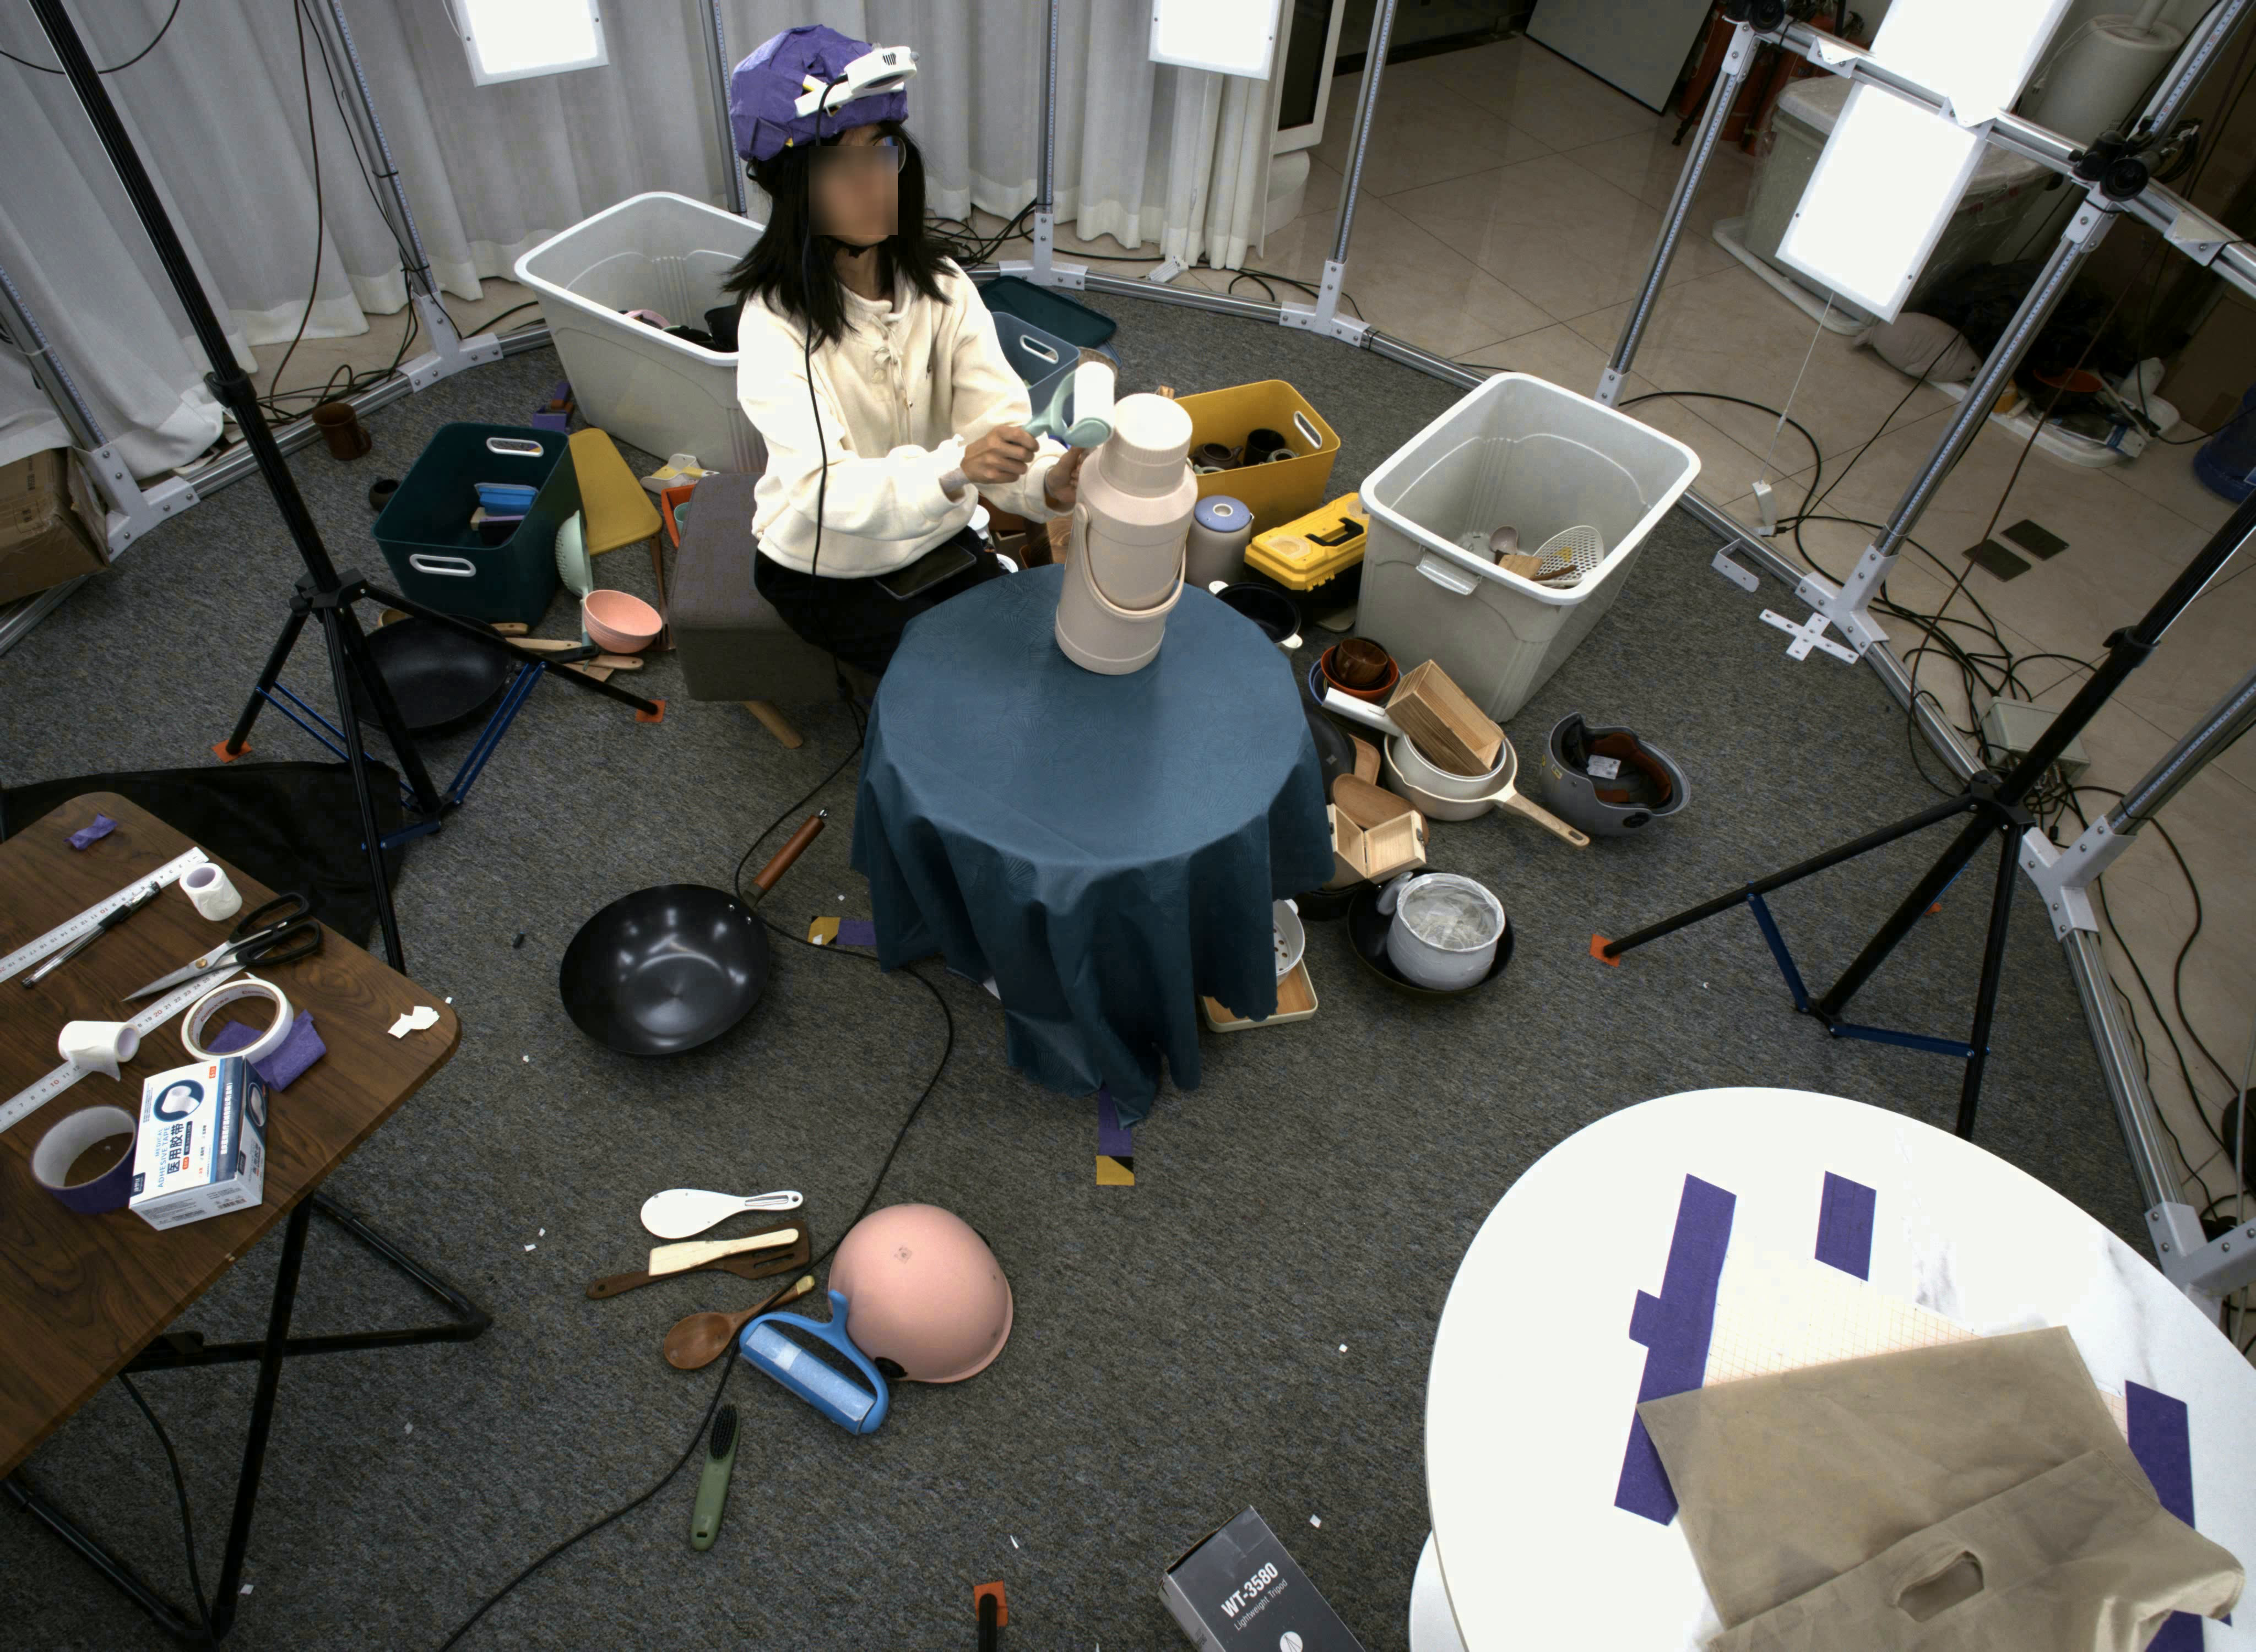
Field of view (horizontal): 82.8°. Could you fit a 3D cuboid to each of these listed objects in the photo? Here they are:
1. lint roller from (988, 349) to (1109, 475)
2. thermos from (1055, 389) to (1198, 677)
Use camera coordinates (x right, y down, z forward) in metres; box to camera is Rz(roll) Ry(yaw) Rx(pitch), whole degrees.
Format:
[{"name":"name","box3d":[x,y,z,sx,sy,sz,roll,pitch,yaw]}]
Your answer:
[{"name":"lint roller","box3d":[-0.106,-0.499,1.603,0.196,0.047,0.119,-22,52,30]},{"name":"thermos","box3d":[-0.006,-0.401,1.749,0.176,0.397,0.211,-23,63,-23]}]
